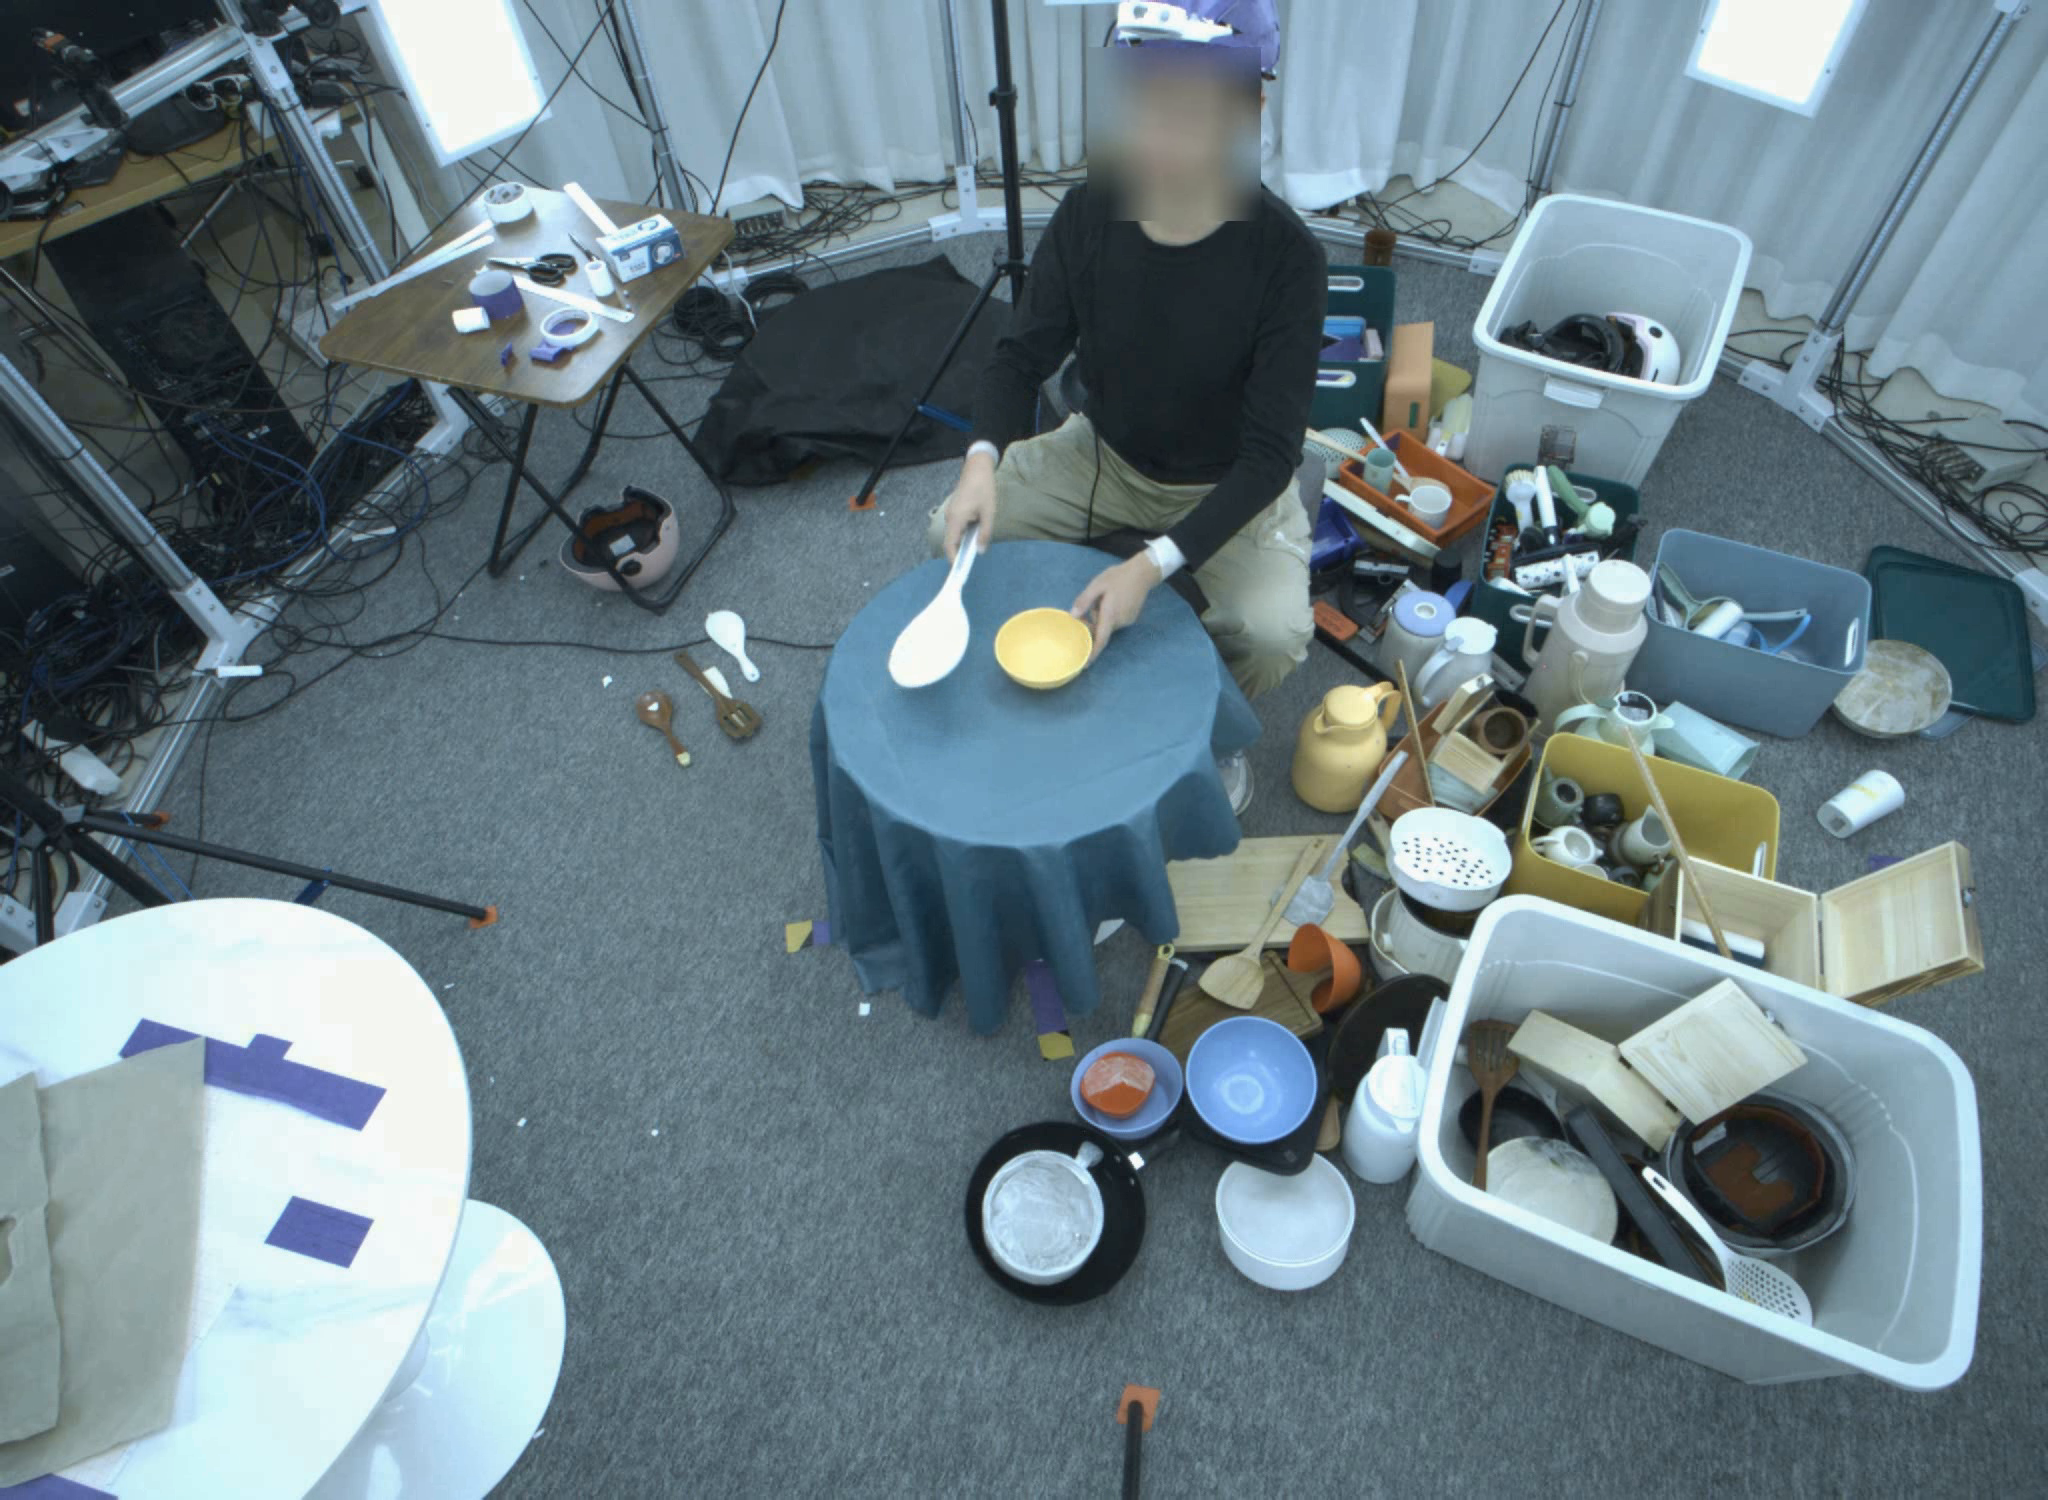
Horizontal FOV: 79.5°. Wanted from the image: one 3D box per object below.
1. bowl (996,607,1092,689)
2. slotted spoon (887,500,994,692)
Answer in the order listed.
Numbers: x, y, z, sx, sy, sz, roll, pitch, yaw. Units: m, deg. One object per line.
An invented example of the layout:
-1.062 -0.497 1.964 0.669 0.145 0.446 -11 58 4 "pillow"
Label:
0.030 -0.142 1.853 0.145 0.061 0.144 0 57 2 "bowl"
-0.110 -0.235 1.839 0.133 0.047 0.348 2 67 34 "slotted spoon"
